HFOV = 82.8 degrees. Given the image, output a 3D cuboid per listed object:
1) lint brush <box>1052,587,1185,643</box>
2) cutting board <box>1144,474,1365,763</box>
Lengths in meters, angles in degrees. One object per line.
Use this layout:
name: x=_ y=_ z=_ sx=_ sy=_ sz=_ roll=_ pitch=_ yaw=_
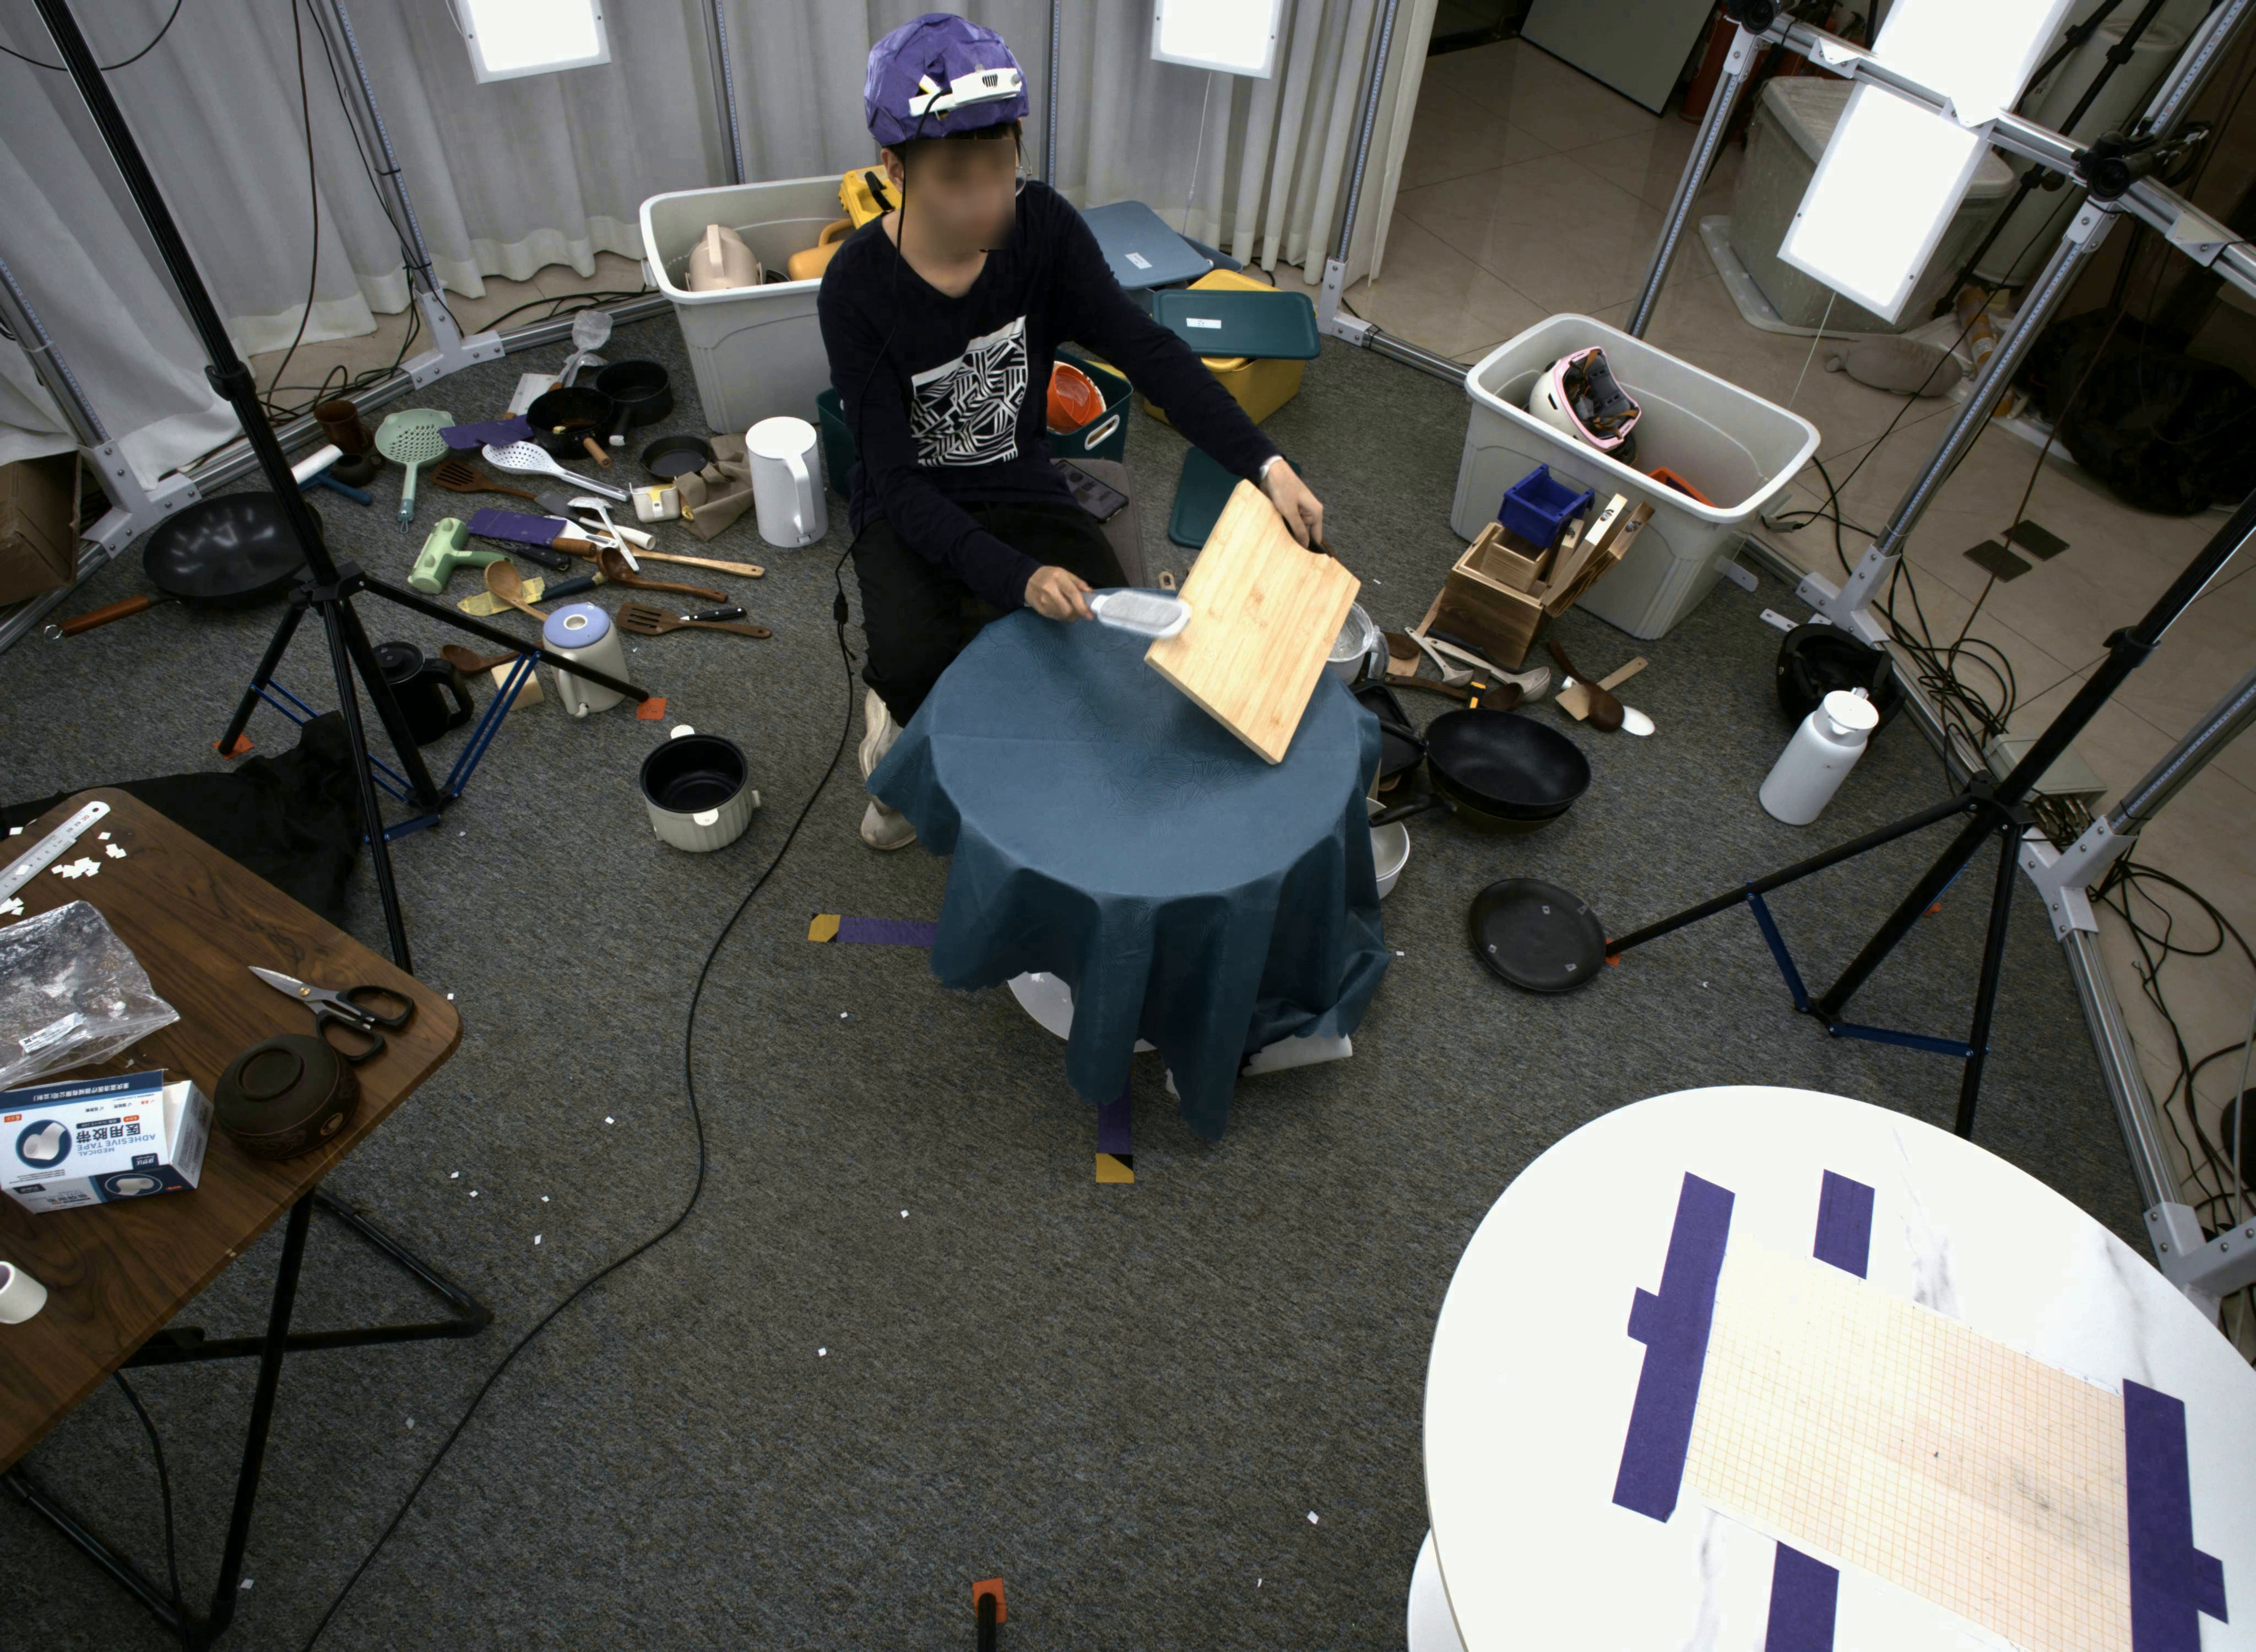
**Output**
lint brush: x=-0.020 y=-0.300 z=1.771 sx=0.060 sy=0.020 sz=0.313 roll=-53 pitch=37 yaw=-8
cutting board: x=0.184 y=-0.292 z=1.791 sx=0.248 sy=0.023 sz=0.354 roll=36 pitch=62 yaw=-19
